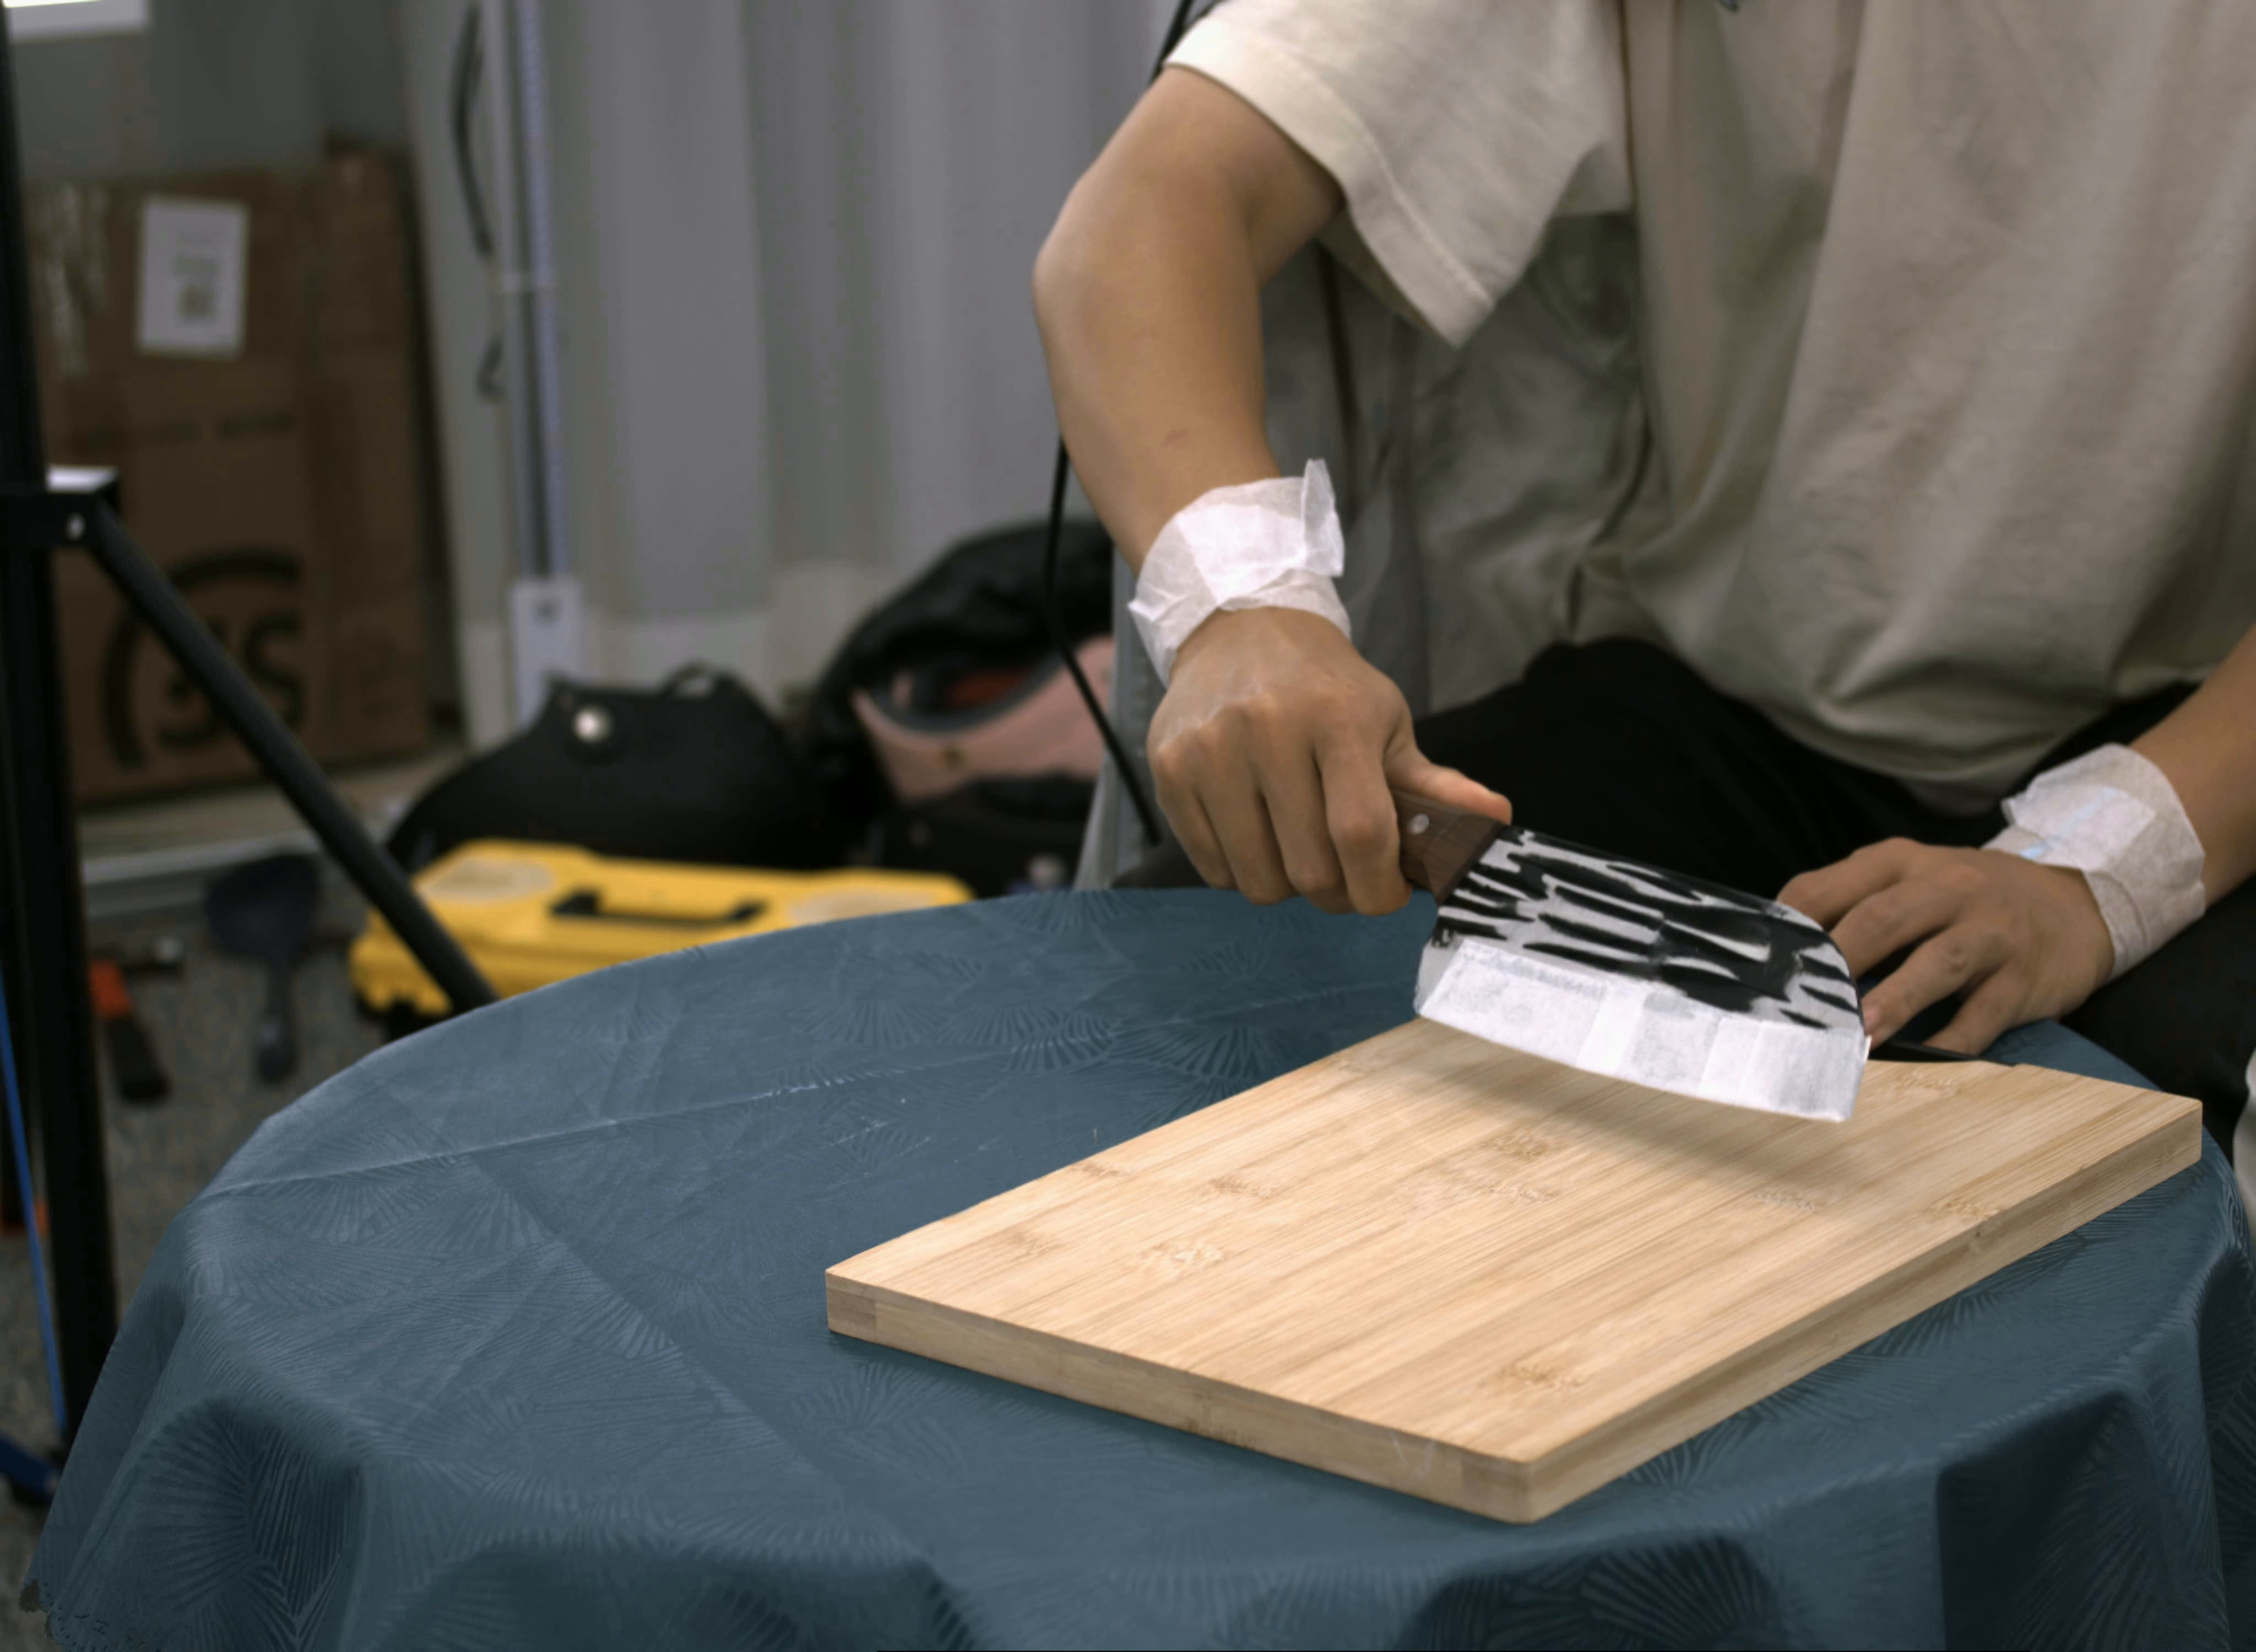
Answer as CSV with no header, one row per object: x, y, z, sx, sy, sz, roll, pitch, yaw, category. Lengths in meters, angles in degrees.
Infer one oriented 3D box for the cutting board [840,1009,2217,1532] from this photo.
0.120,0.109,1.502,0.256,0.023,0.341,11,20,39,cutting board

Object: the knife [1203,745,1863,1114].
0.113,0.029,1.579,0.306,0.068,0.023,18,-19,48,knife
